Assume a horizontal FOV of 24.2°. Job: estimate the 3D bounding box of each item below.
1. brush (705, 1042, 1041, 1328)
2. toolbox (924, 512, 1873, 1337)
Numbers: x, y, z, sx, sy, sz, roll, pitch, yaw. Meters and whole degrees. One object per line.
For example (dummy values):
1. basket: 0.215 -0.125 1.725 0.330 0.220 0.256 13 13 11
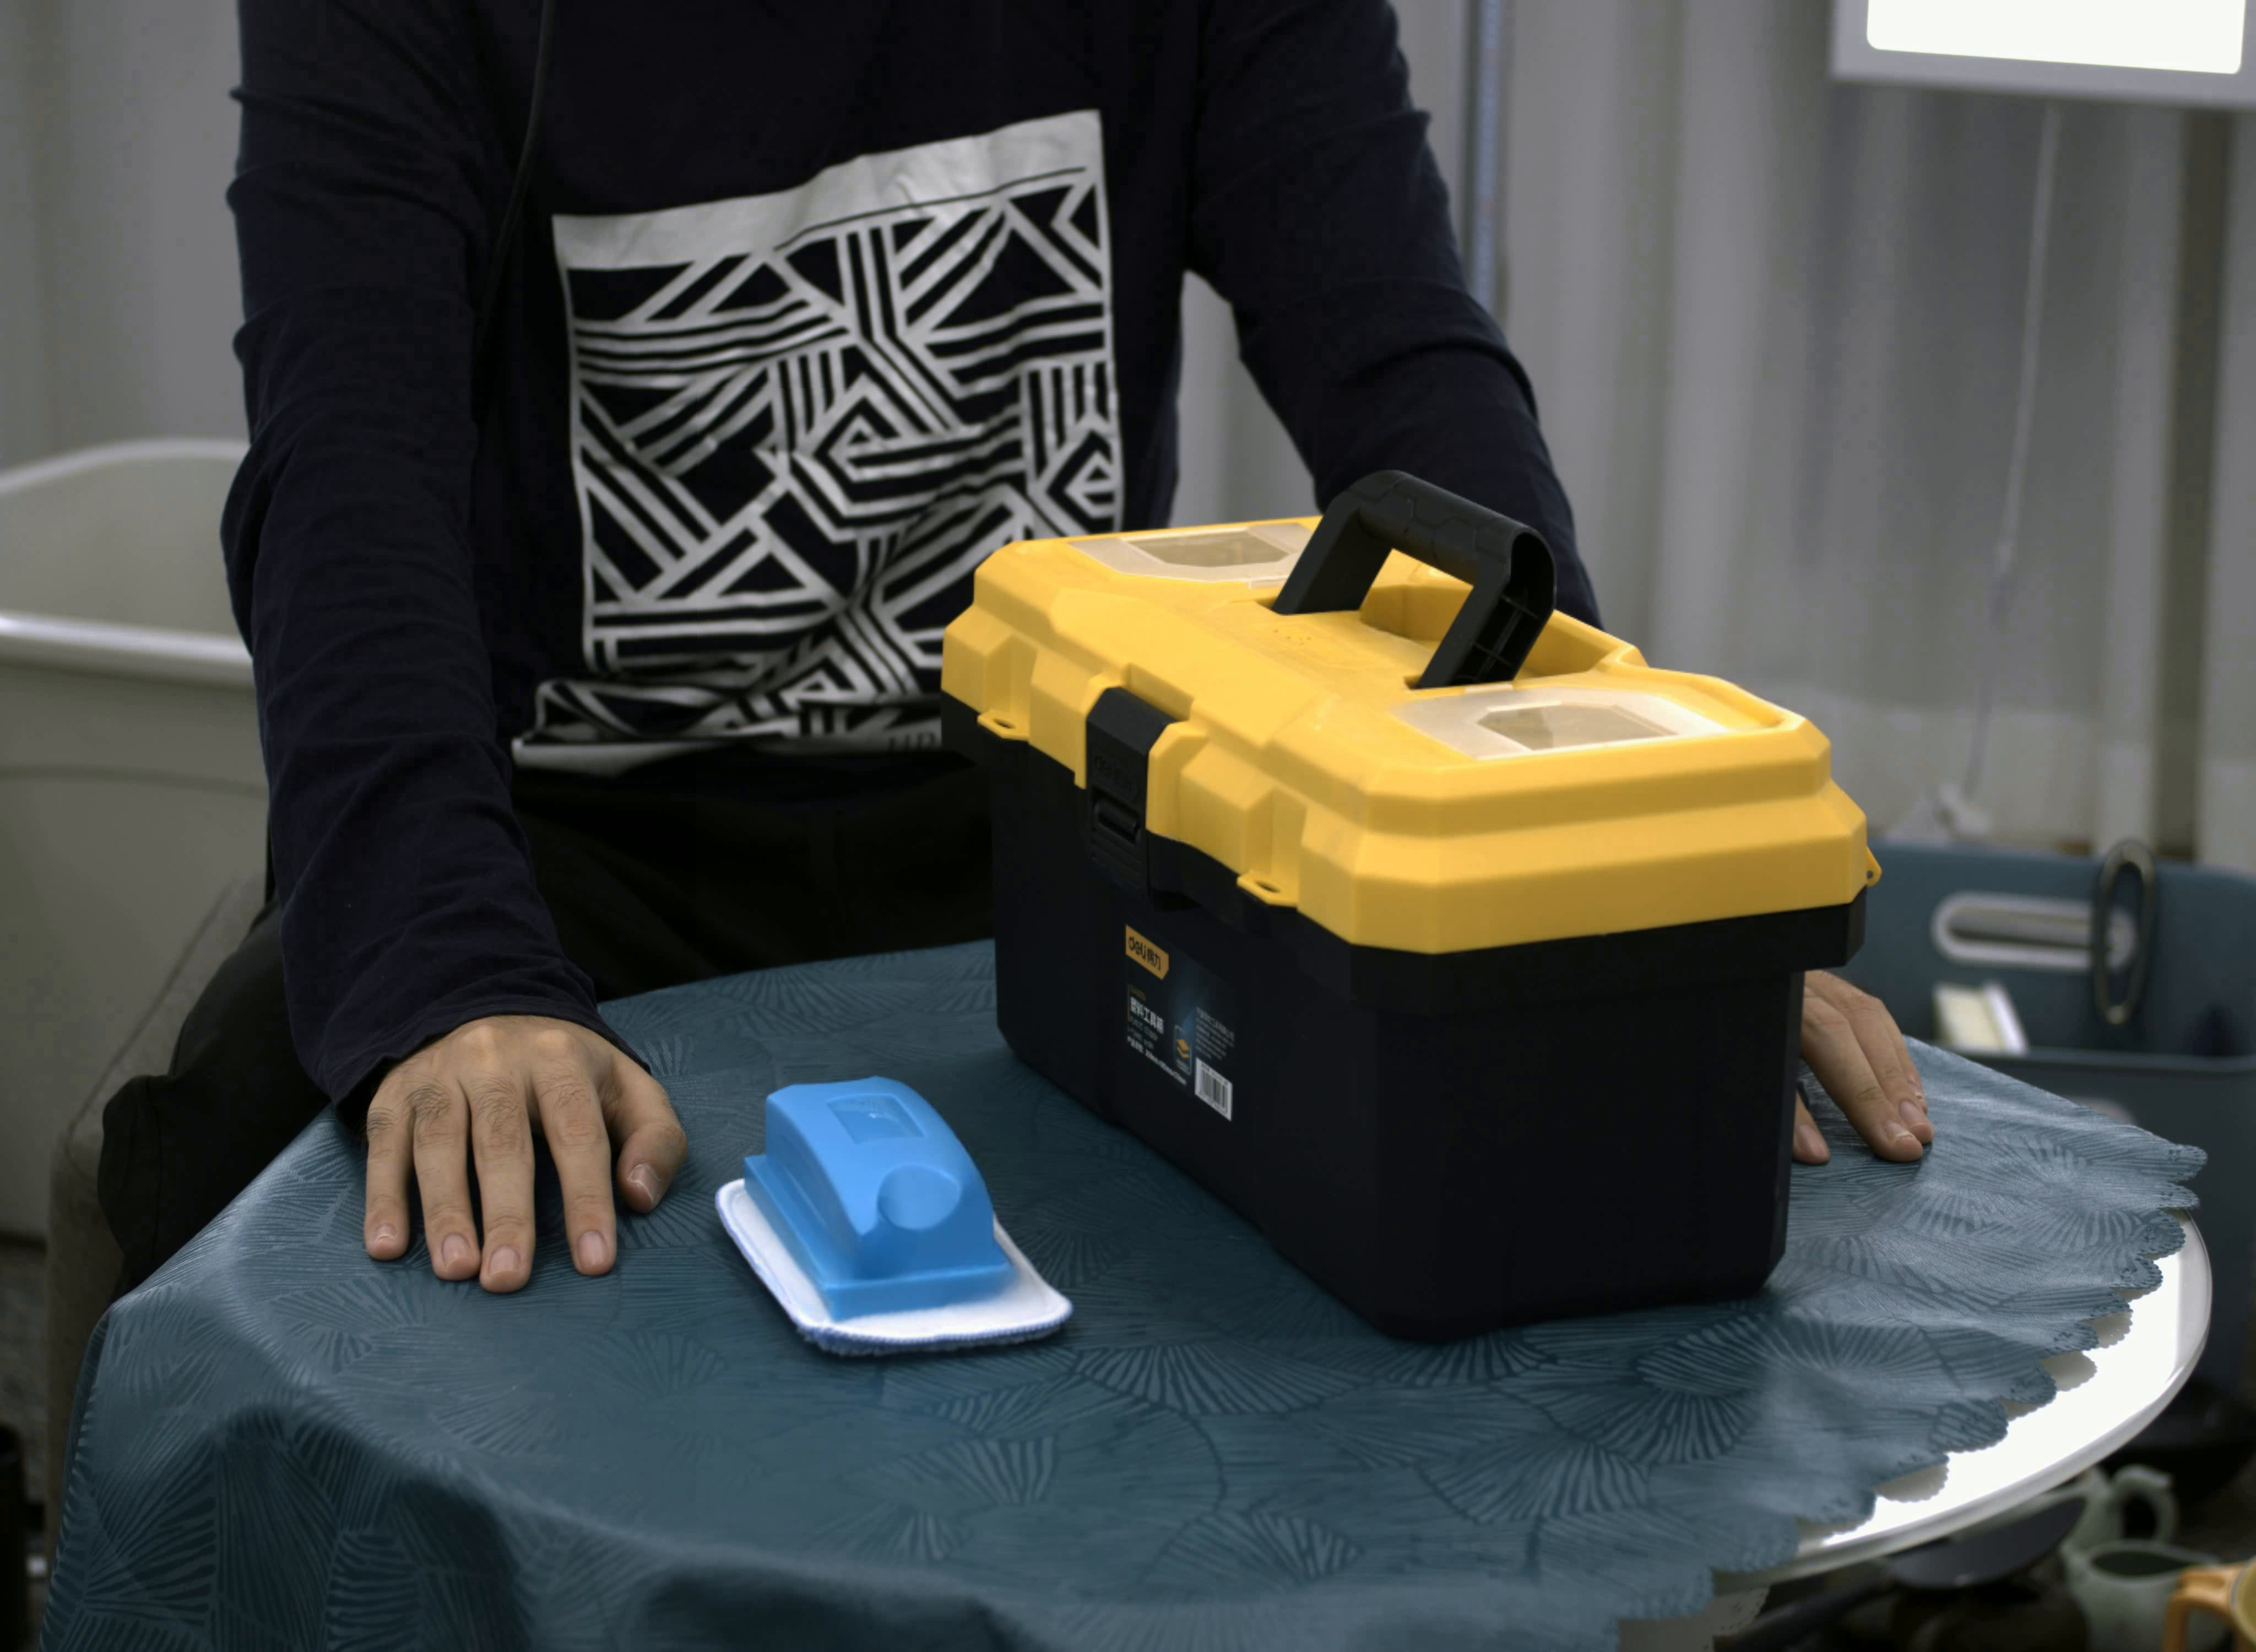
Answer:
1. brush: -0.074 0.102 1.545 0.084 0.056 0.142 0 17 -15
2. toolbox: 0.074 0.021 1.629 0.182 0.174 0.347 -6 17 -23
